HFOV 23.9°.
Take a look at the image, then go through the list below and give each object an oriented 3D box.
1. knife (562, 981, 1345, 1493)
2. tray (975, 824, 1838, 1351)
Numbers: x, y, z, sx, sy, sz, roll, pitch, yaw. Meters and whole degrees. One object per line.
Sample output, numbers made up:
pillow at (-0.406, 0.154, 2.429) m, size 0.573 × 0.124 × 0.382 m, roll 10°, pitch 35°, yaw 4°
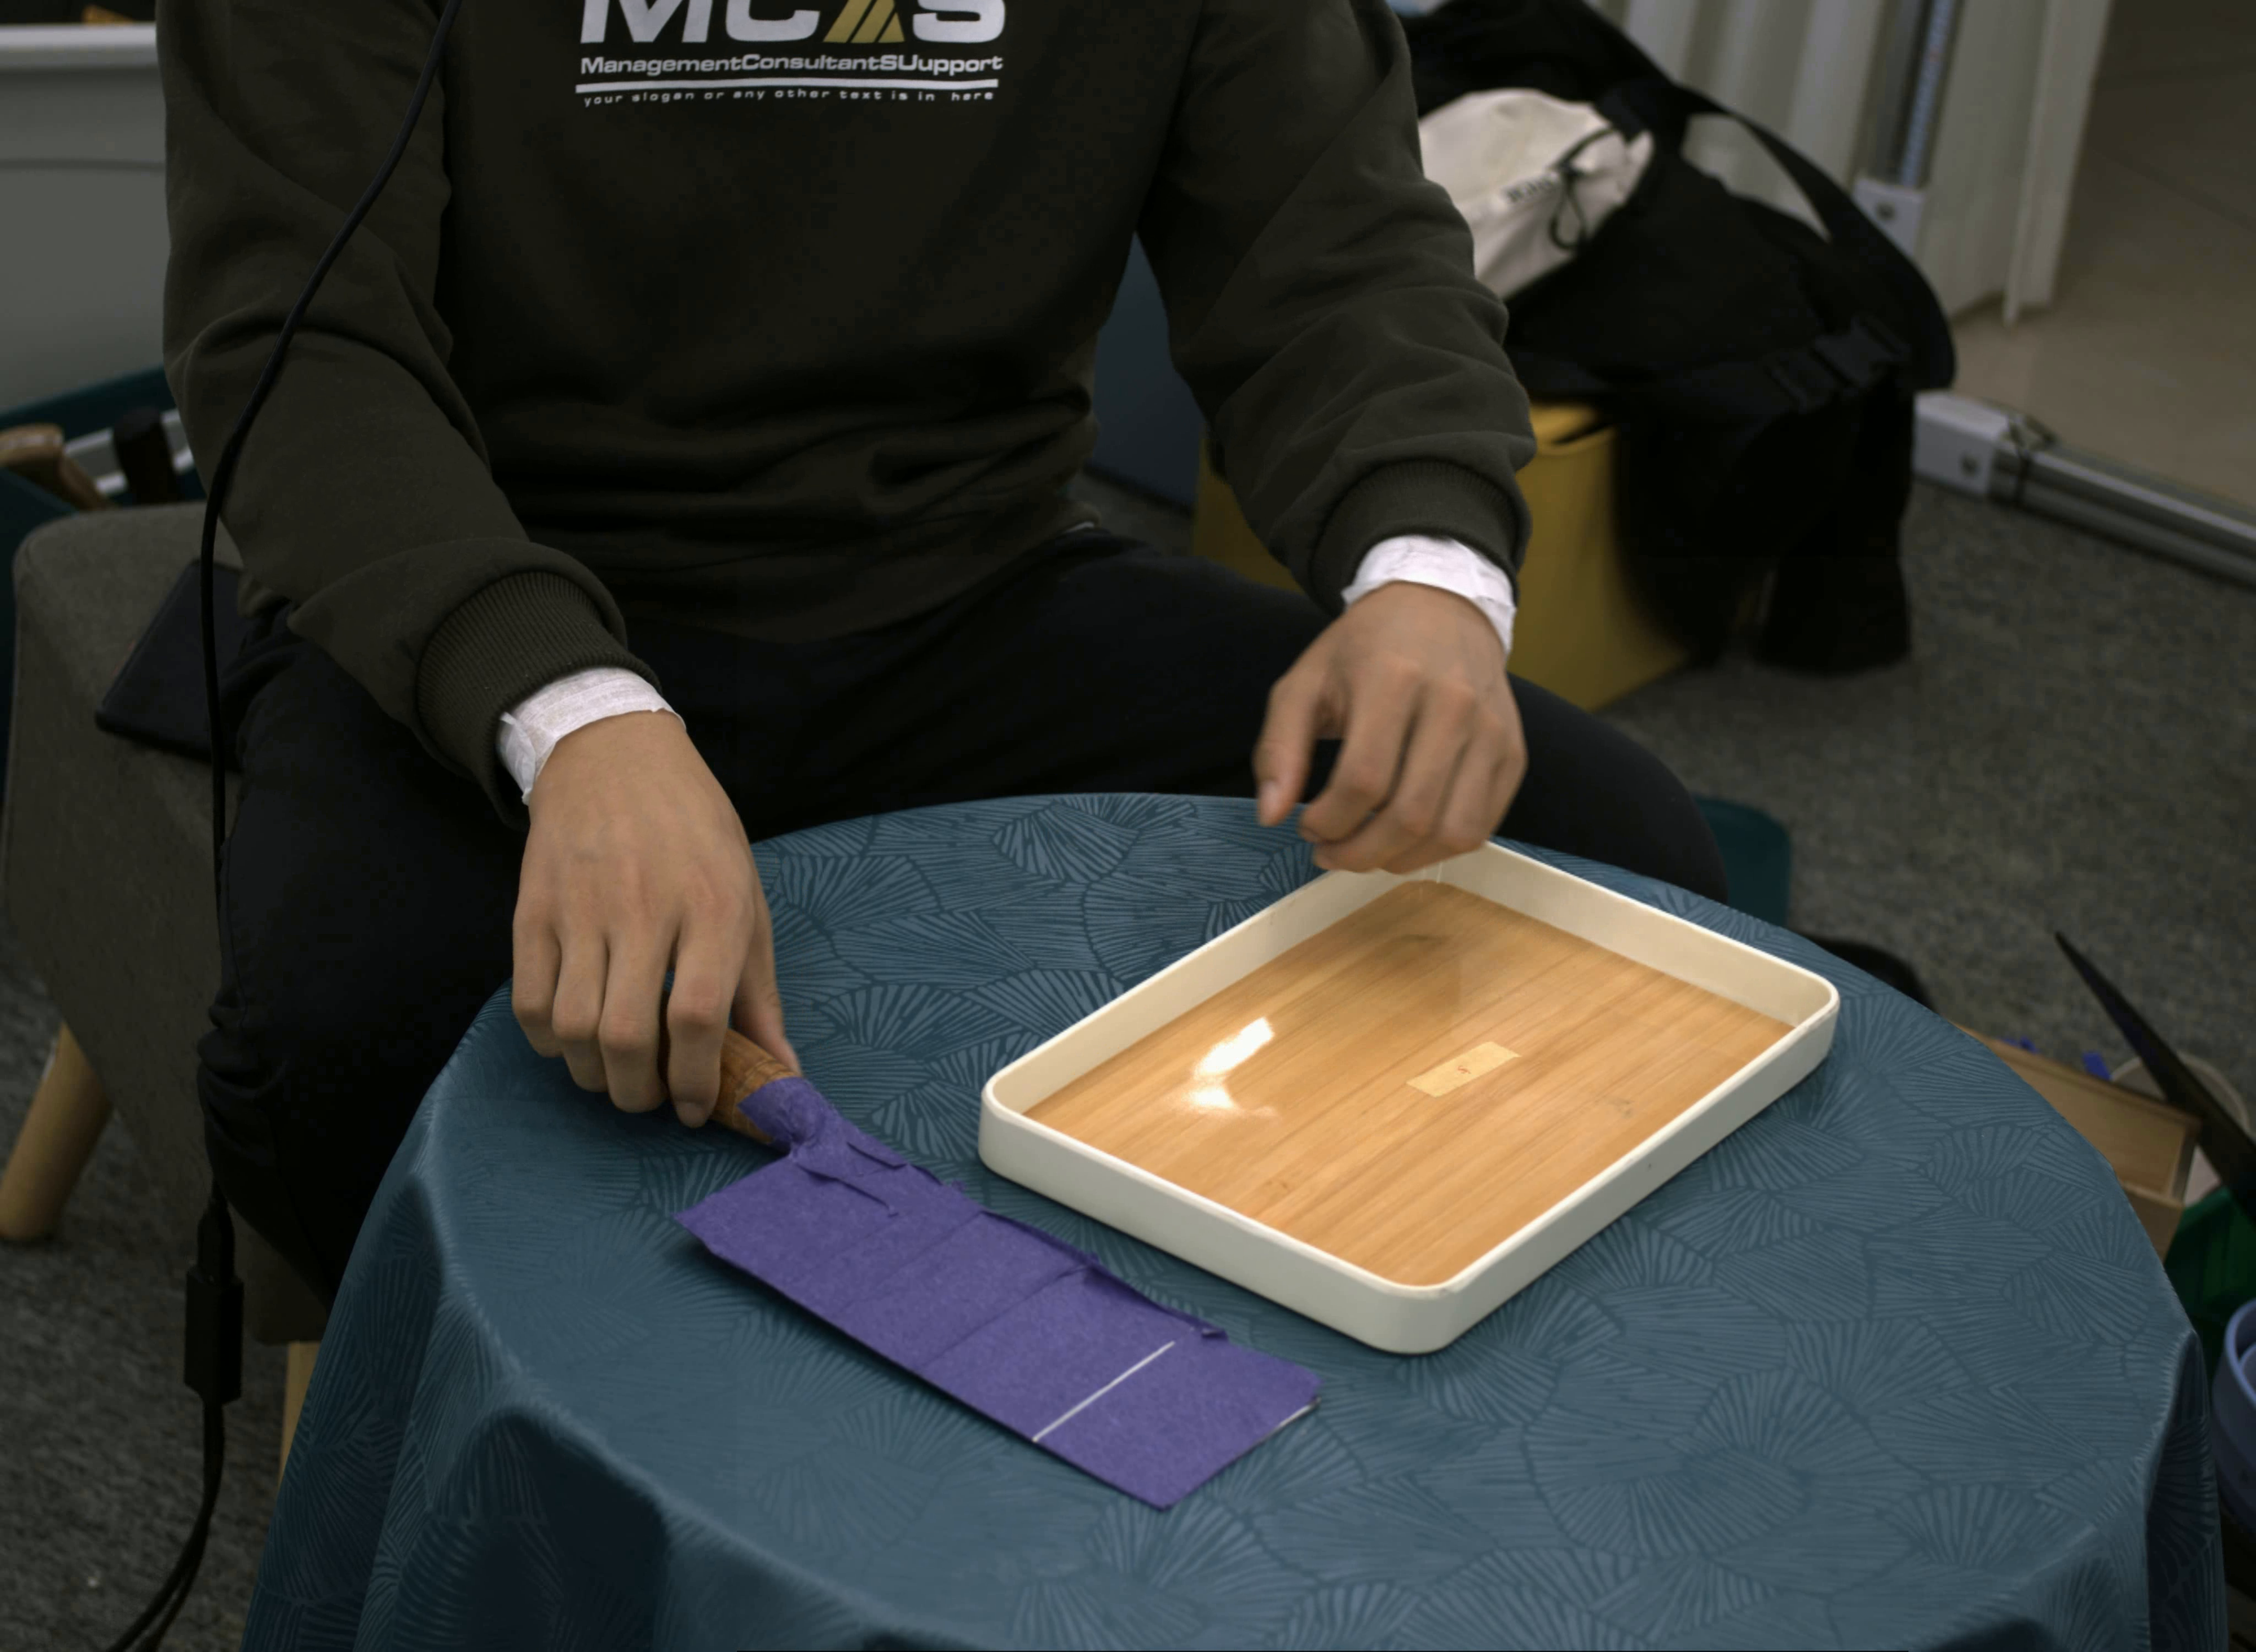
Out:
knife at (-0.082, 0.131, 1.742) m, size 0.317 × 0.032 × 0.103 m, roll 24°, pitch 31°, yaw 30°
tray at (0.102, 0.086, 1.873) m, size 0.192 × 0.027 × 0.299 m, roll 22°, pitch 31°, yaw 29°
